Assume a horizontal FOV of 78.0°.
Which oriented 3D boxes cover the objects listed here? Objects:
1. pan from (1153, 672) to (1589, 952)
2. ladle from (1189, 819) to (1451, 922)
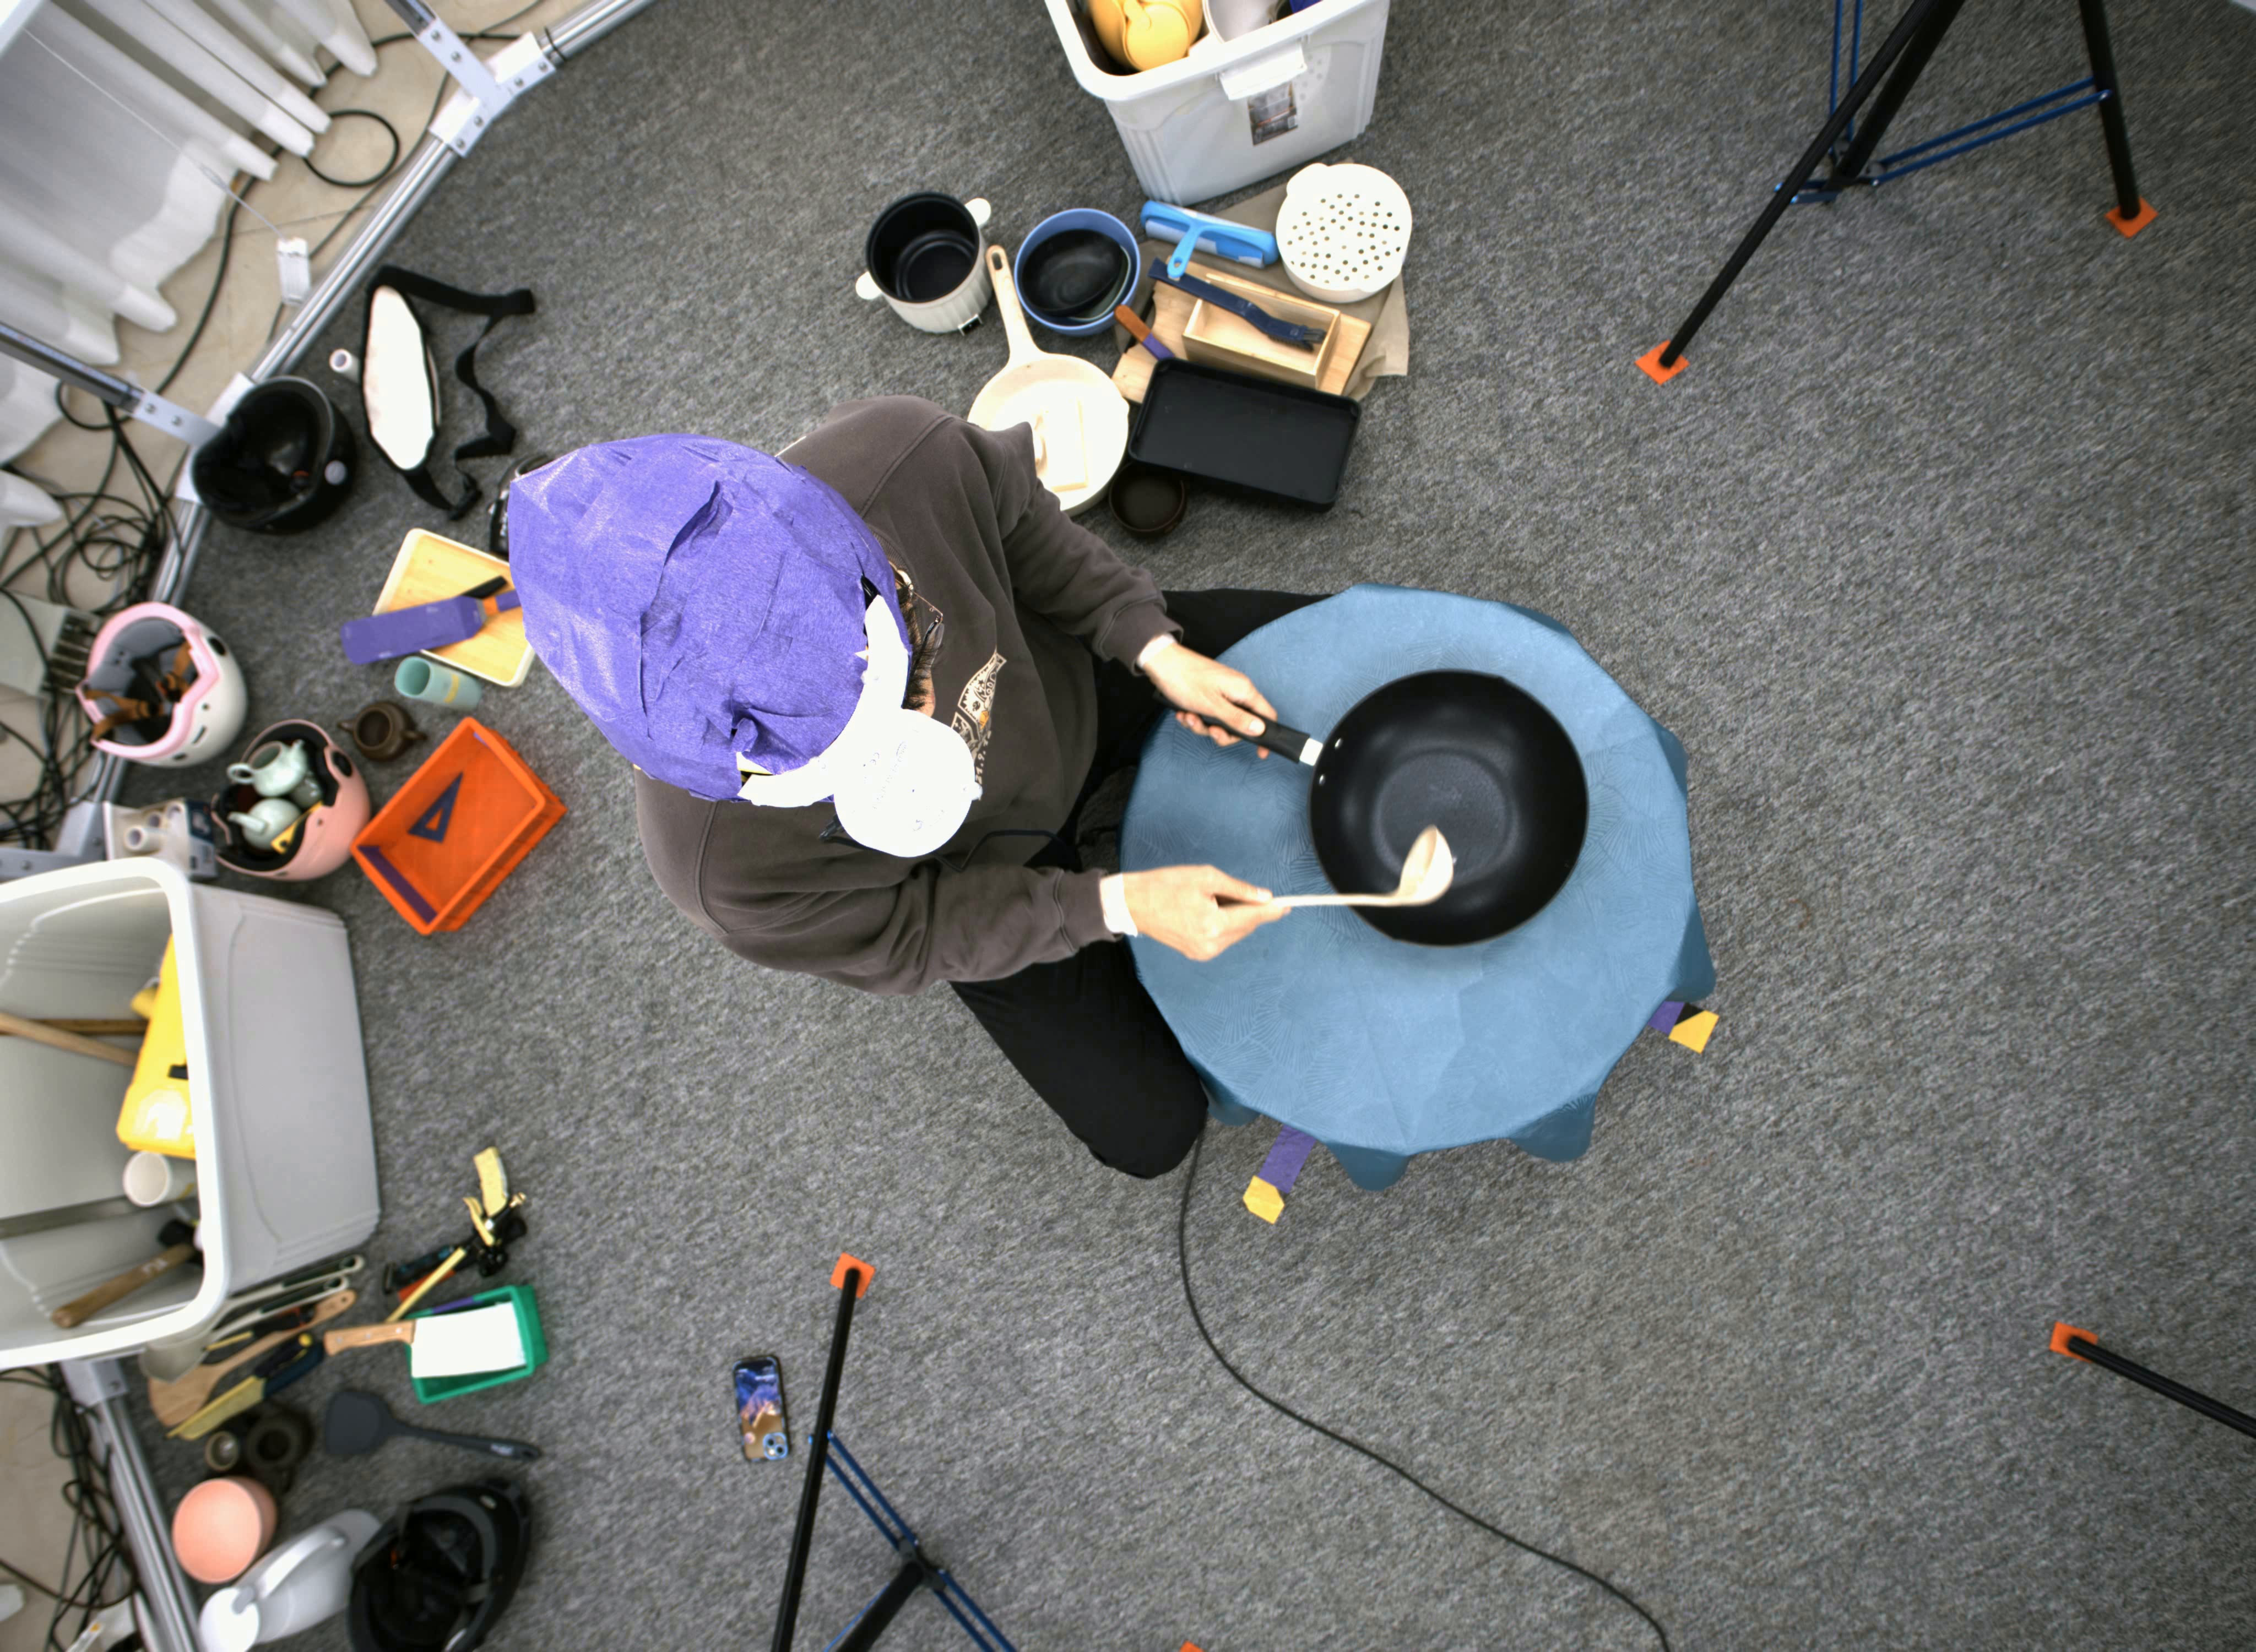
[{"bbox_3d":[0.240,-0.049,1.427,0.463,0.087,0.288,23,92,12],"label":"pan"},{"bbox_3d":[0.181,0.041,1.314,0.254,0.071,0.074,-7,112,-7],"label":"ladle"}]
